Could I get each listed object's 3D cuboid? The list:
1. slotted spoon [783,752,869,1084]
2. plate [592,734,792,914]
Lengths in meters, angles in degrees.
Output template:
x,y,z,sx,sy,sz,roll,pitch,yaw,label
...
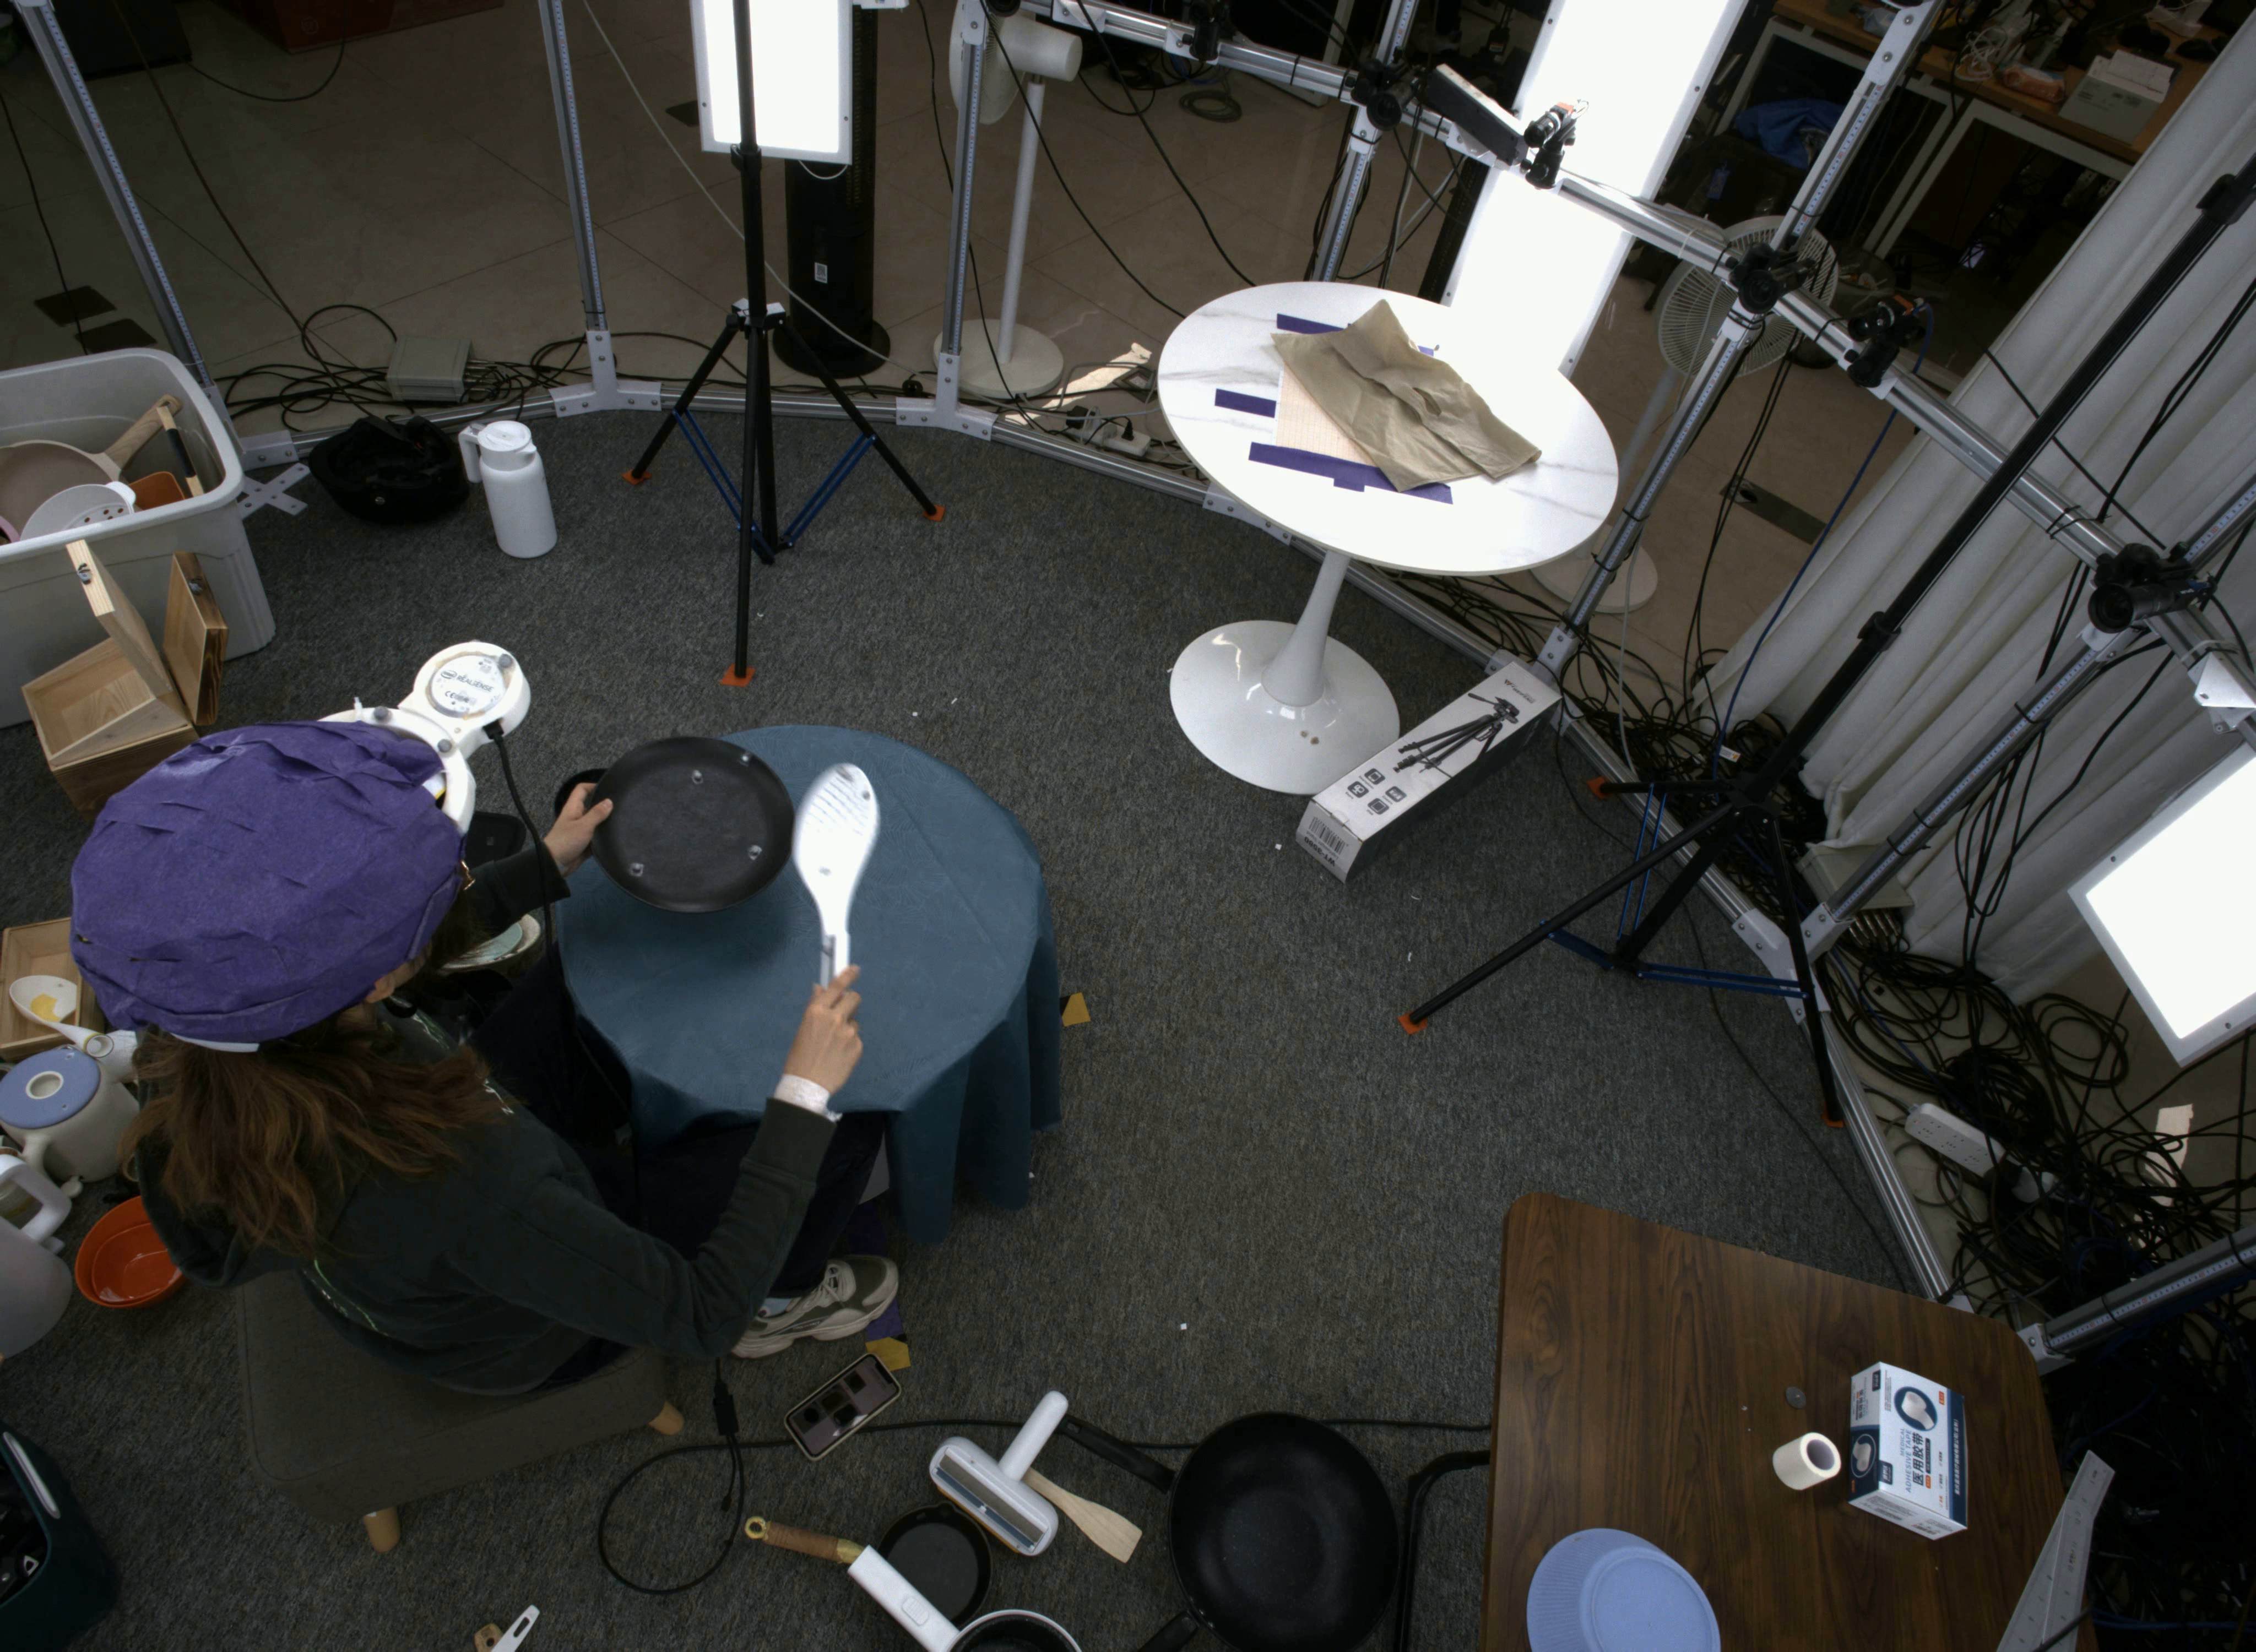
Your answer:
x,y,z,sx,sy,sz,roll,pitch,yaw,label
-0.314,0.089,1.349,0.047,0.133,0.346,26,55,-46,slotted spoon
-0.525,-0.003,1.556,0.246,0.023,0.241,11,60,-17,plate
